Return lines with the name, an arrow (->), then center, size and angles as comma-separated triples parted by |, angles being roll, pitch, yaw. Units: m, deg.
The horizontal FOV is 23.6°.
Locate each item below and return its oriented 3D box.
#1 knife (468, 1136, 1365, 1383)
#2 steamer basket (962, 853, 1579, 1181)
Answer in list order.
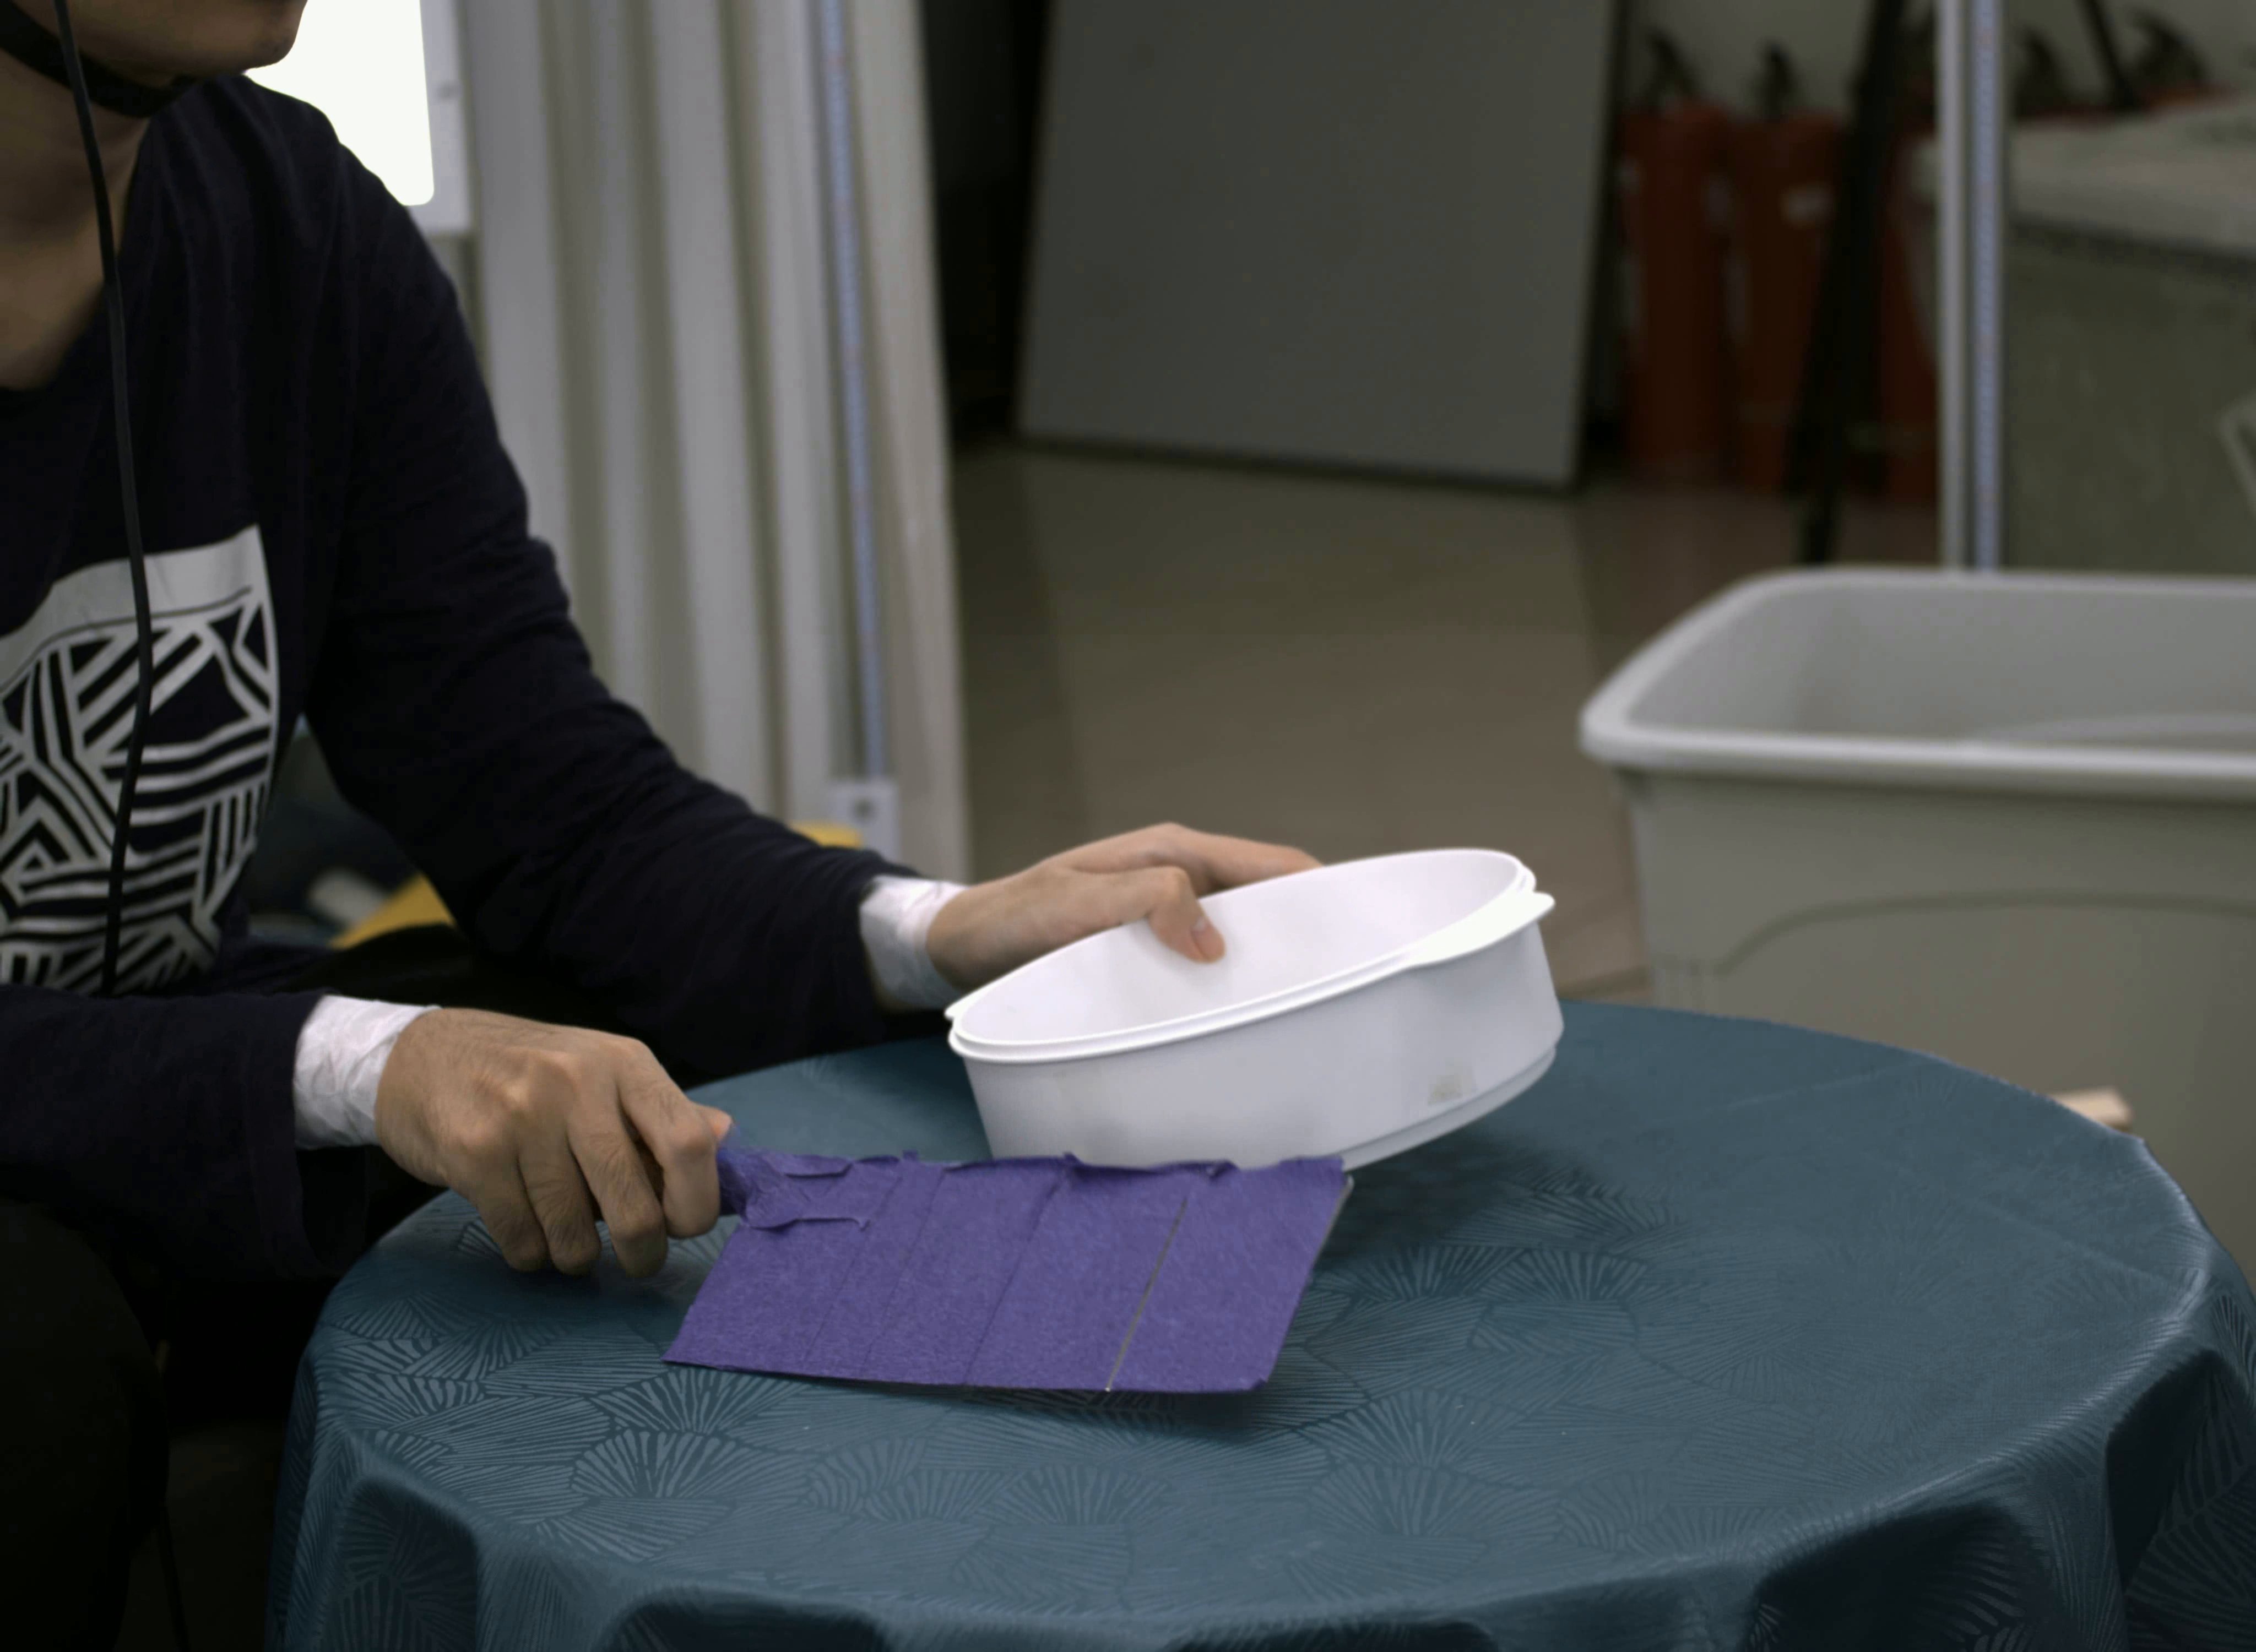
knife -> -0.081, 0.130, 1.640 | 0.316, 0.032, 0.103 | -3, 38, 31
steamer basket -> 0.050, 0.072, 1.760 | 0.232, 0.070, 0.198 | -13, 8, 41
